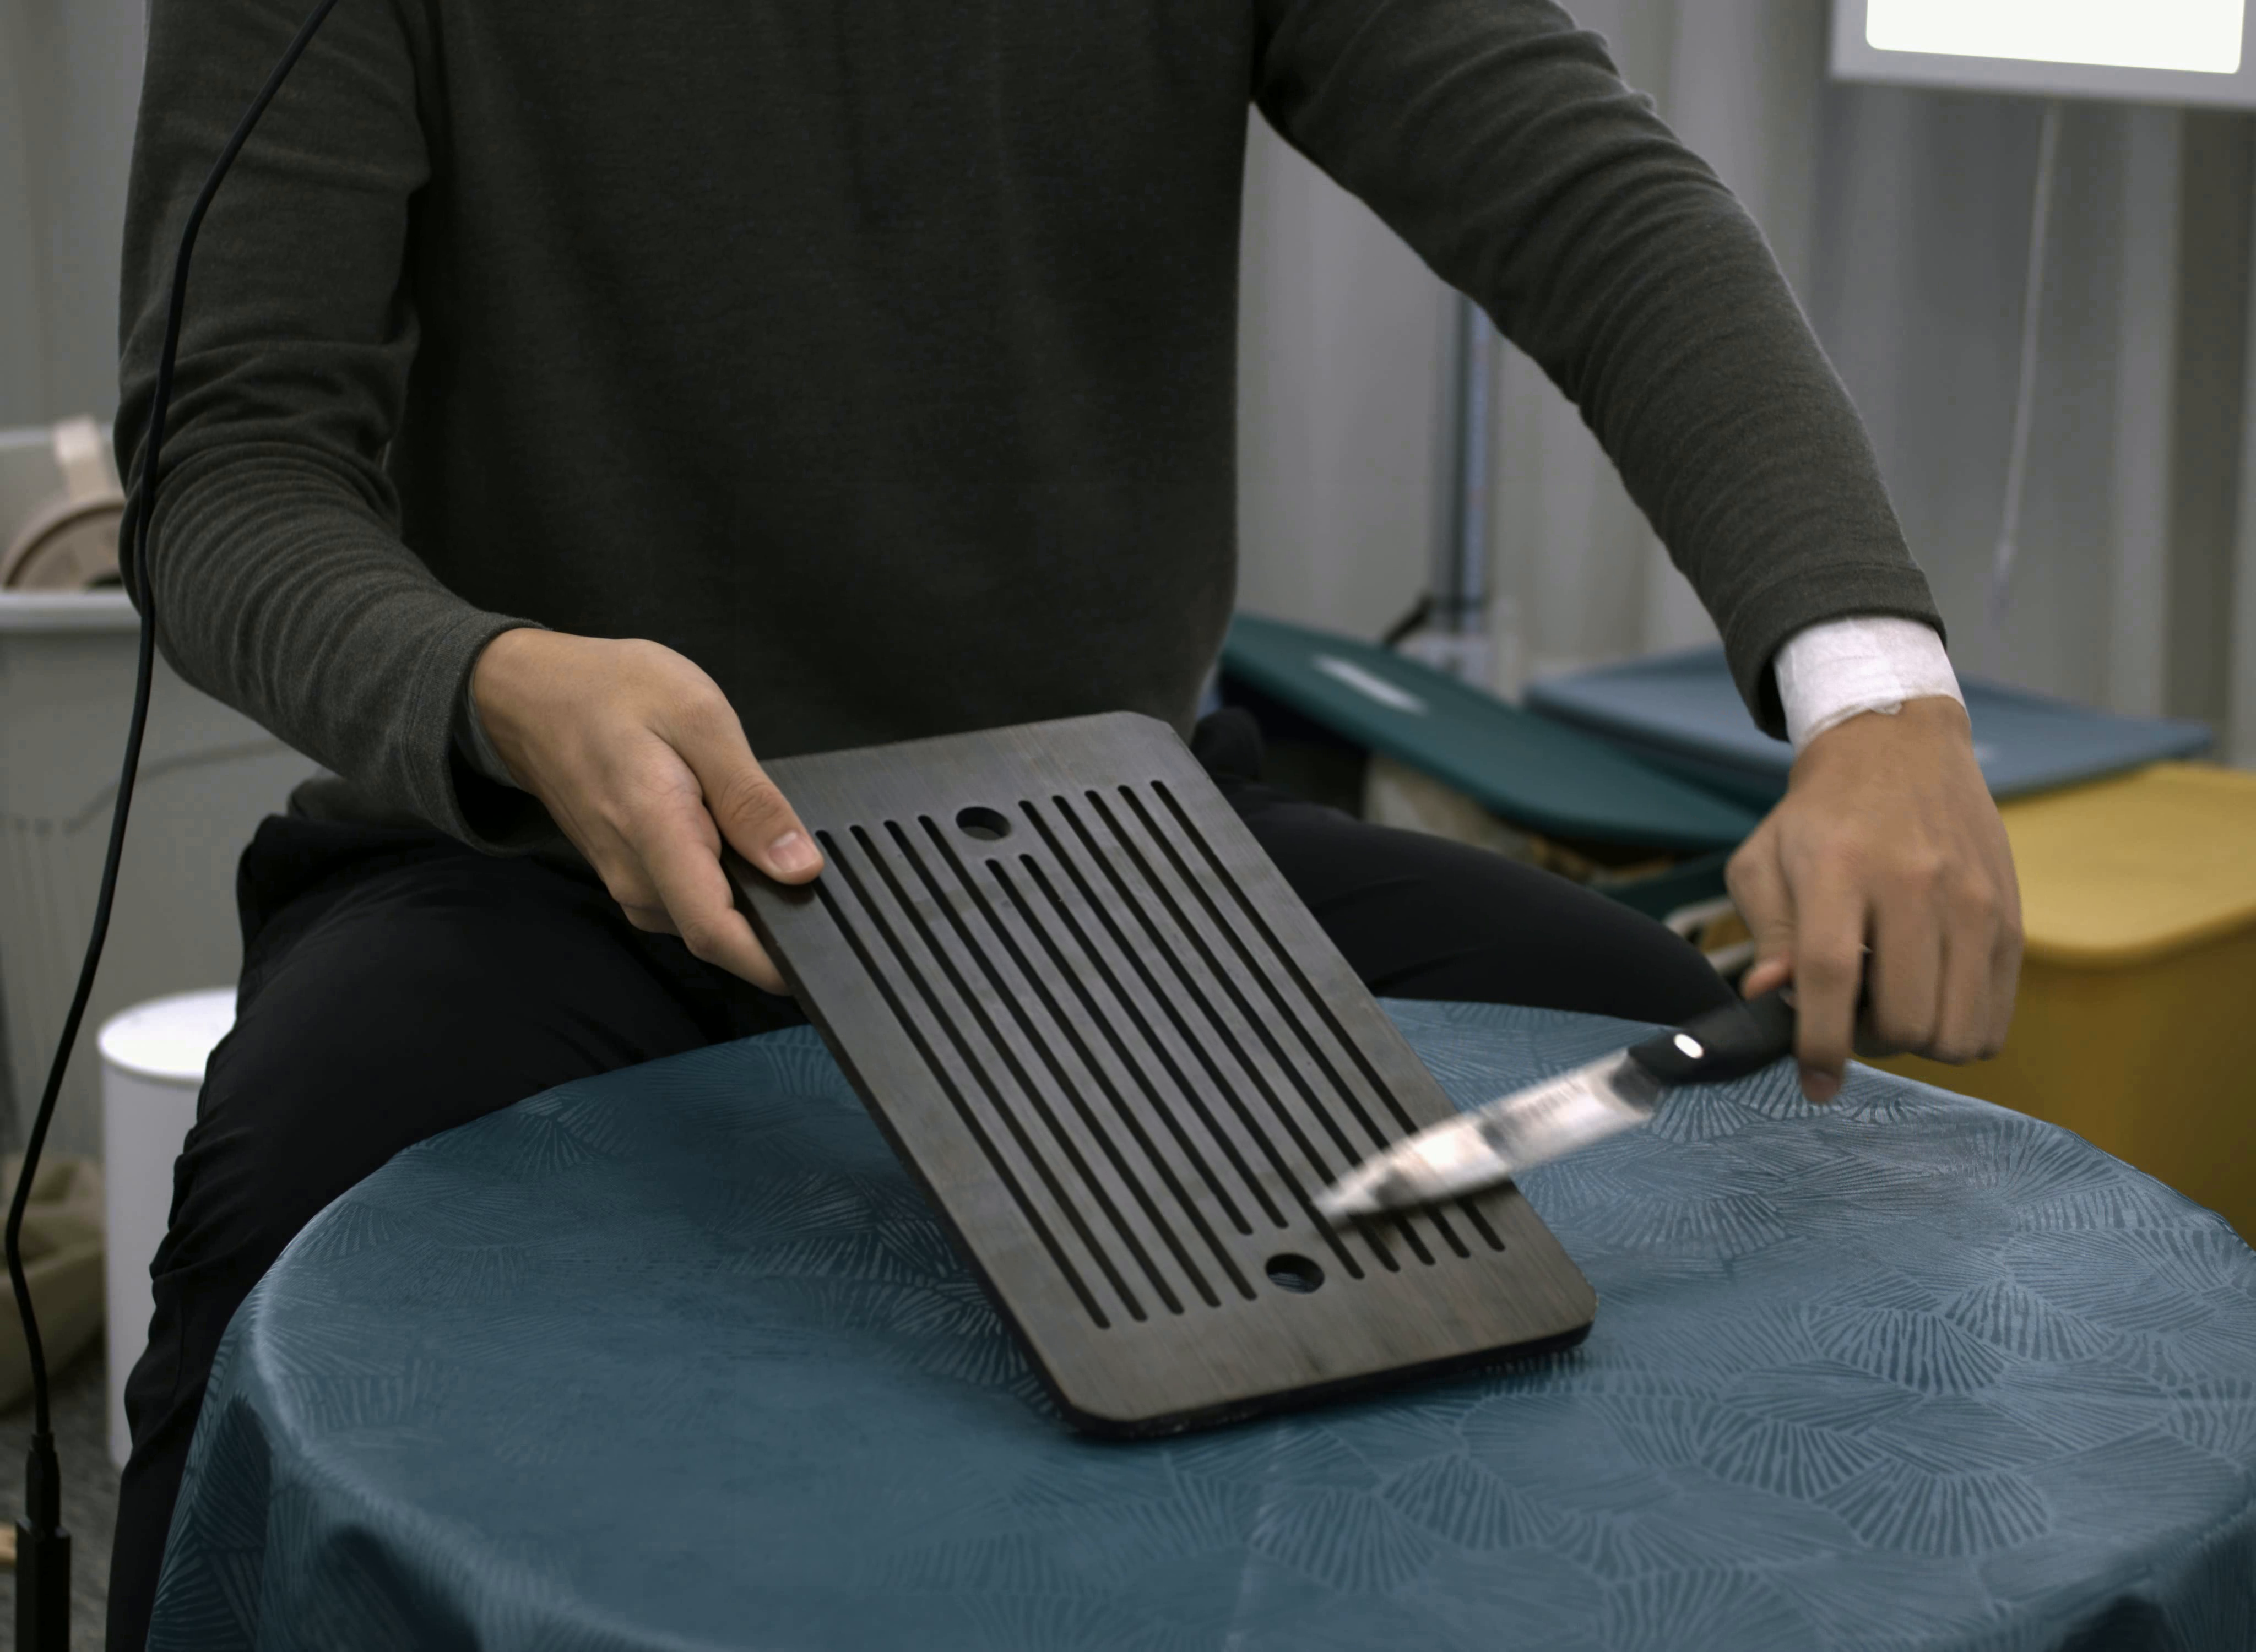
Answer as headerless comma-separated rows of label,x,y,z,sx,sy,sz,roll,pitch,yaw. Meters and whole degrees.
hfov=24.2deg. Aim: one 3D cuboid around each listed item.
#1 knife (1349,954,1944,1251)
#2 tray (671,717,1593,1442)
knife,0.153,0.081,1.556,0.239,0.016,0.024,-21,65,-34
tray,-0.005,0.069,1.553,0.171,0.019,0.302,-8,41,-27
